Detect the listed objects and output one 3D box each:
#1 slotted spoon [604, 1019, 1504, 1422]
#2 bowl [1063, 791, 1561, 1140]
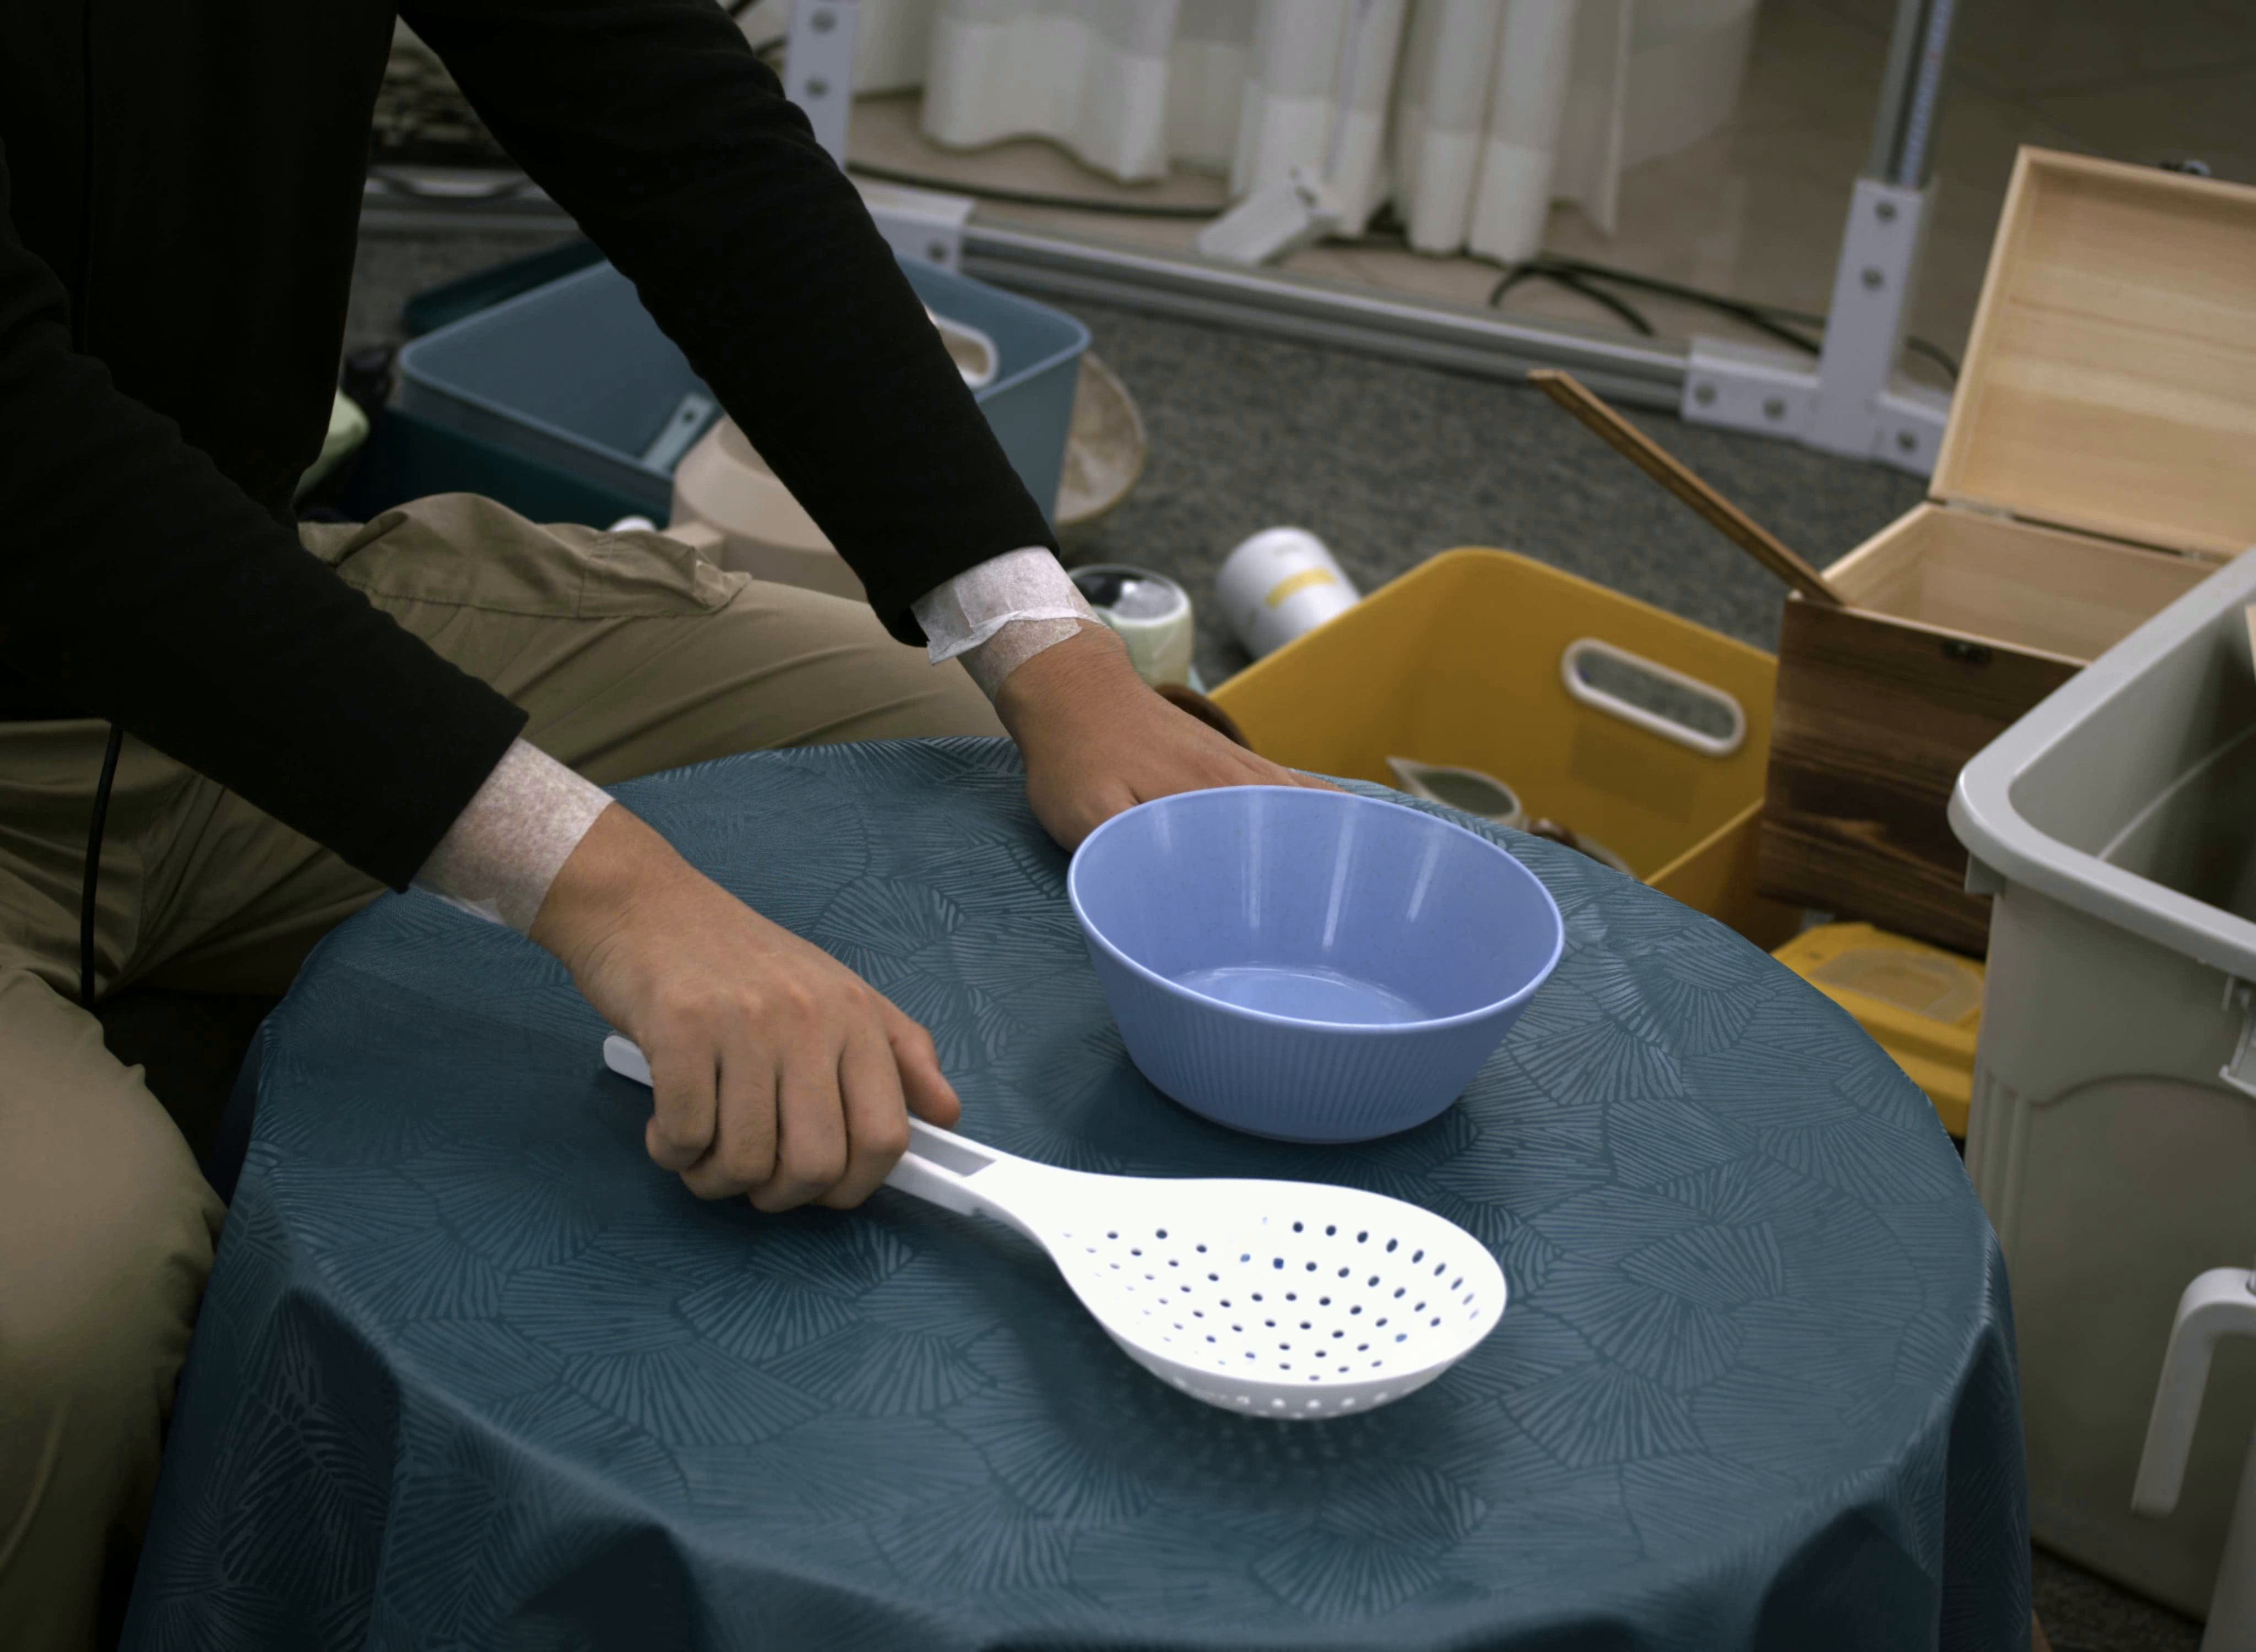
[{"bbox_3d":[-0.035,0.122,1.747,0.352,0.045,0.135,23,32,31],"label":"slotted spoon"},{"bbox_3d":[0.062,0.054,1.874,0.175,0.070,0.177,4,26,-2],"label":"bowl"}]
